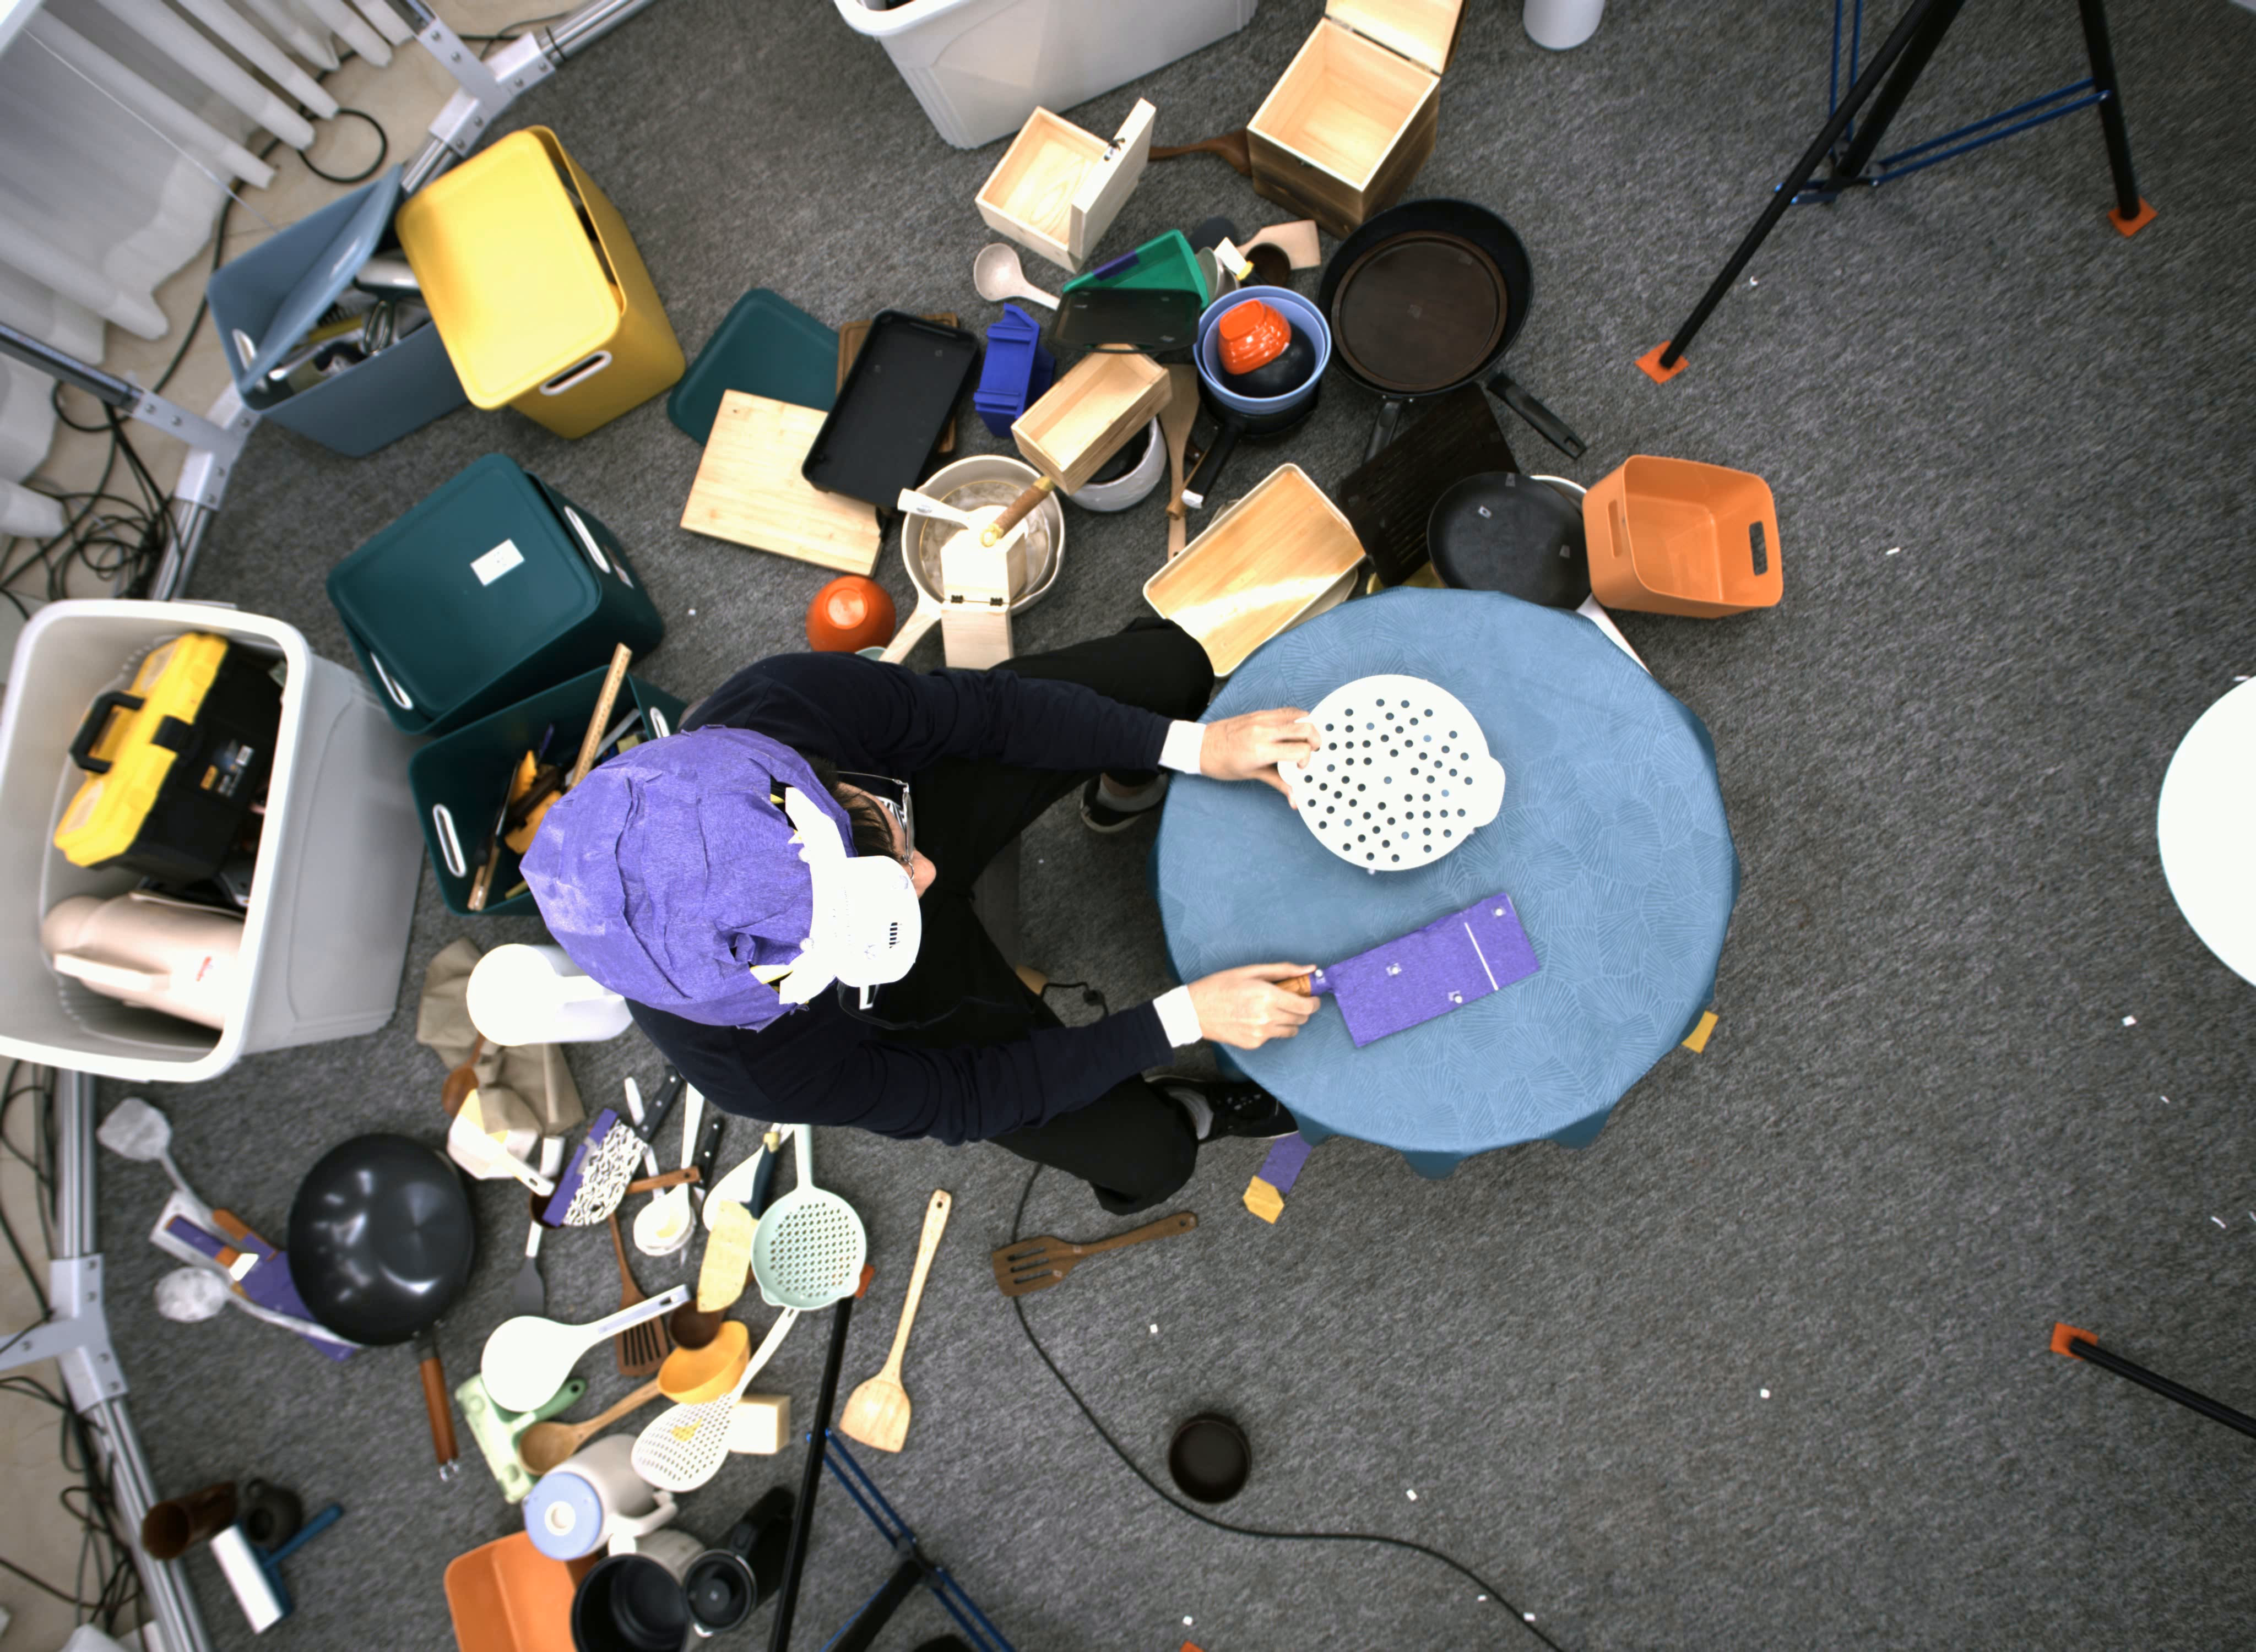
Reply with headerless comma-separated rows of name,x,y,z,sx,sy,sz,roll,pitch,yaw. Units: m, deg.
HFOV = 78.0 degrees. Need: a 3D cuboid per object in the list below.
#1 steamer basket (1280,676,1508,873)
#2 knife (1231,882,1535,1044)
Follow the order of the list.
steamer basket,0.275,-0.053,1.431,0.231,0.069,0.201,14,87,12
knife,0.266,0.166,1.433,0.317,0.032,0.104,-25,92,7
